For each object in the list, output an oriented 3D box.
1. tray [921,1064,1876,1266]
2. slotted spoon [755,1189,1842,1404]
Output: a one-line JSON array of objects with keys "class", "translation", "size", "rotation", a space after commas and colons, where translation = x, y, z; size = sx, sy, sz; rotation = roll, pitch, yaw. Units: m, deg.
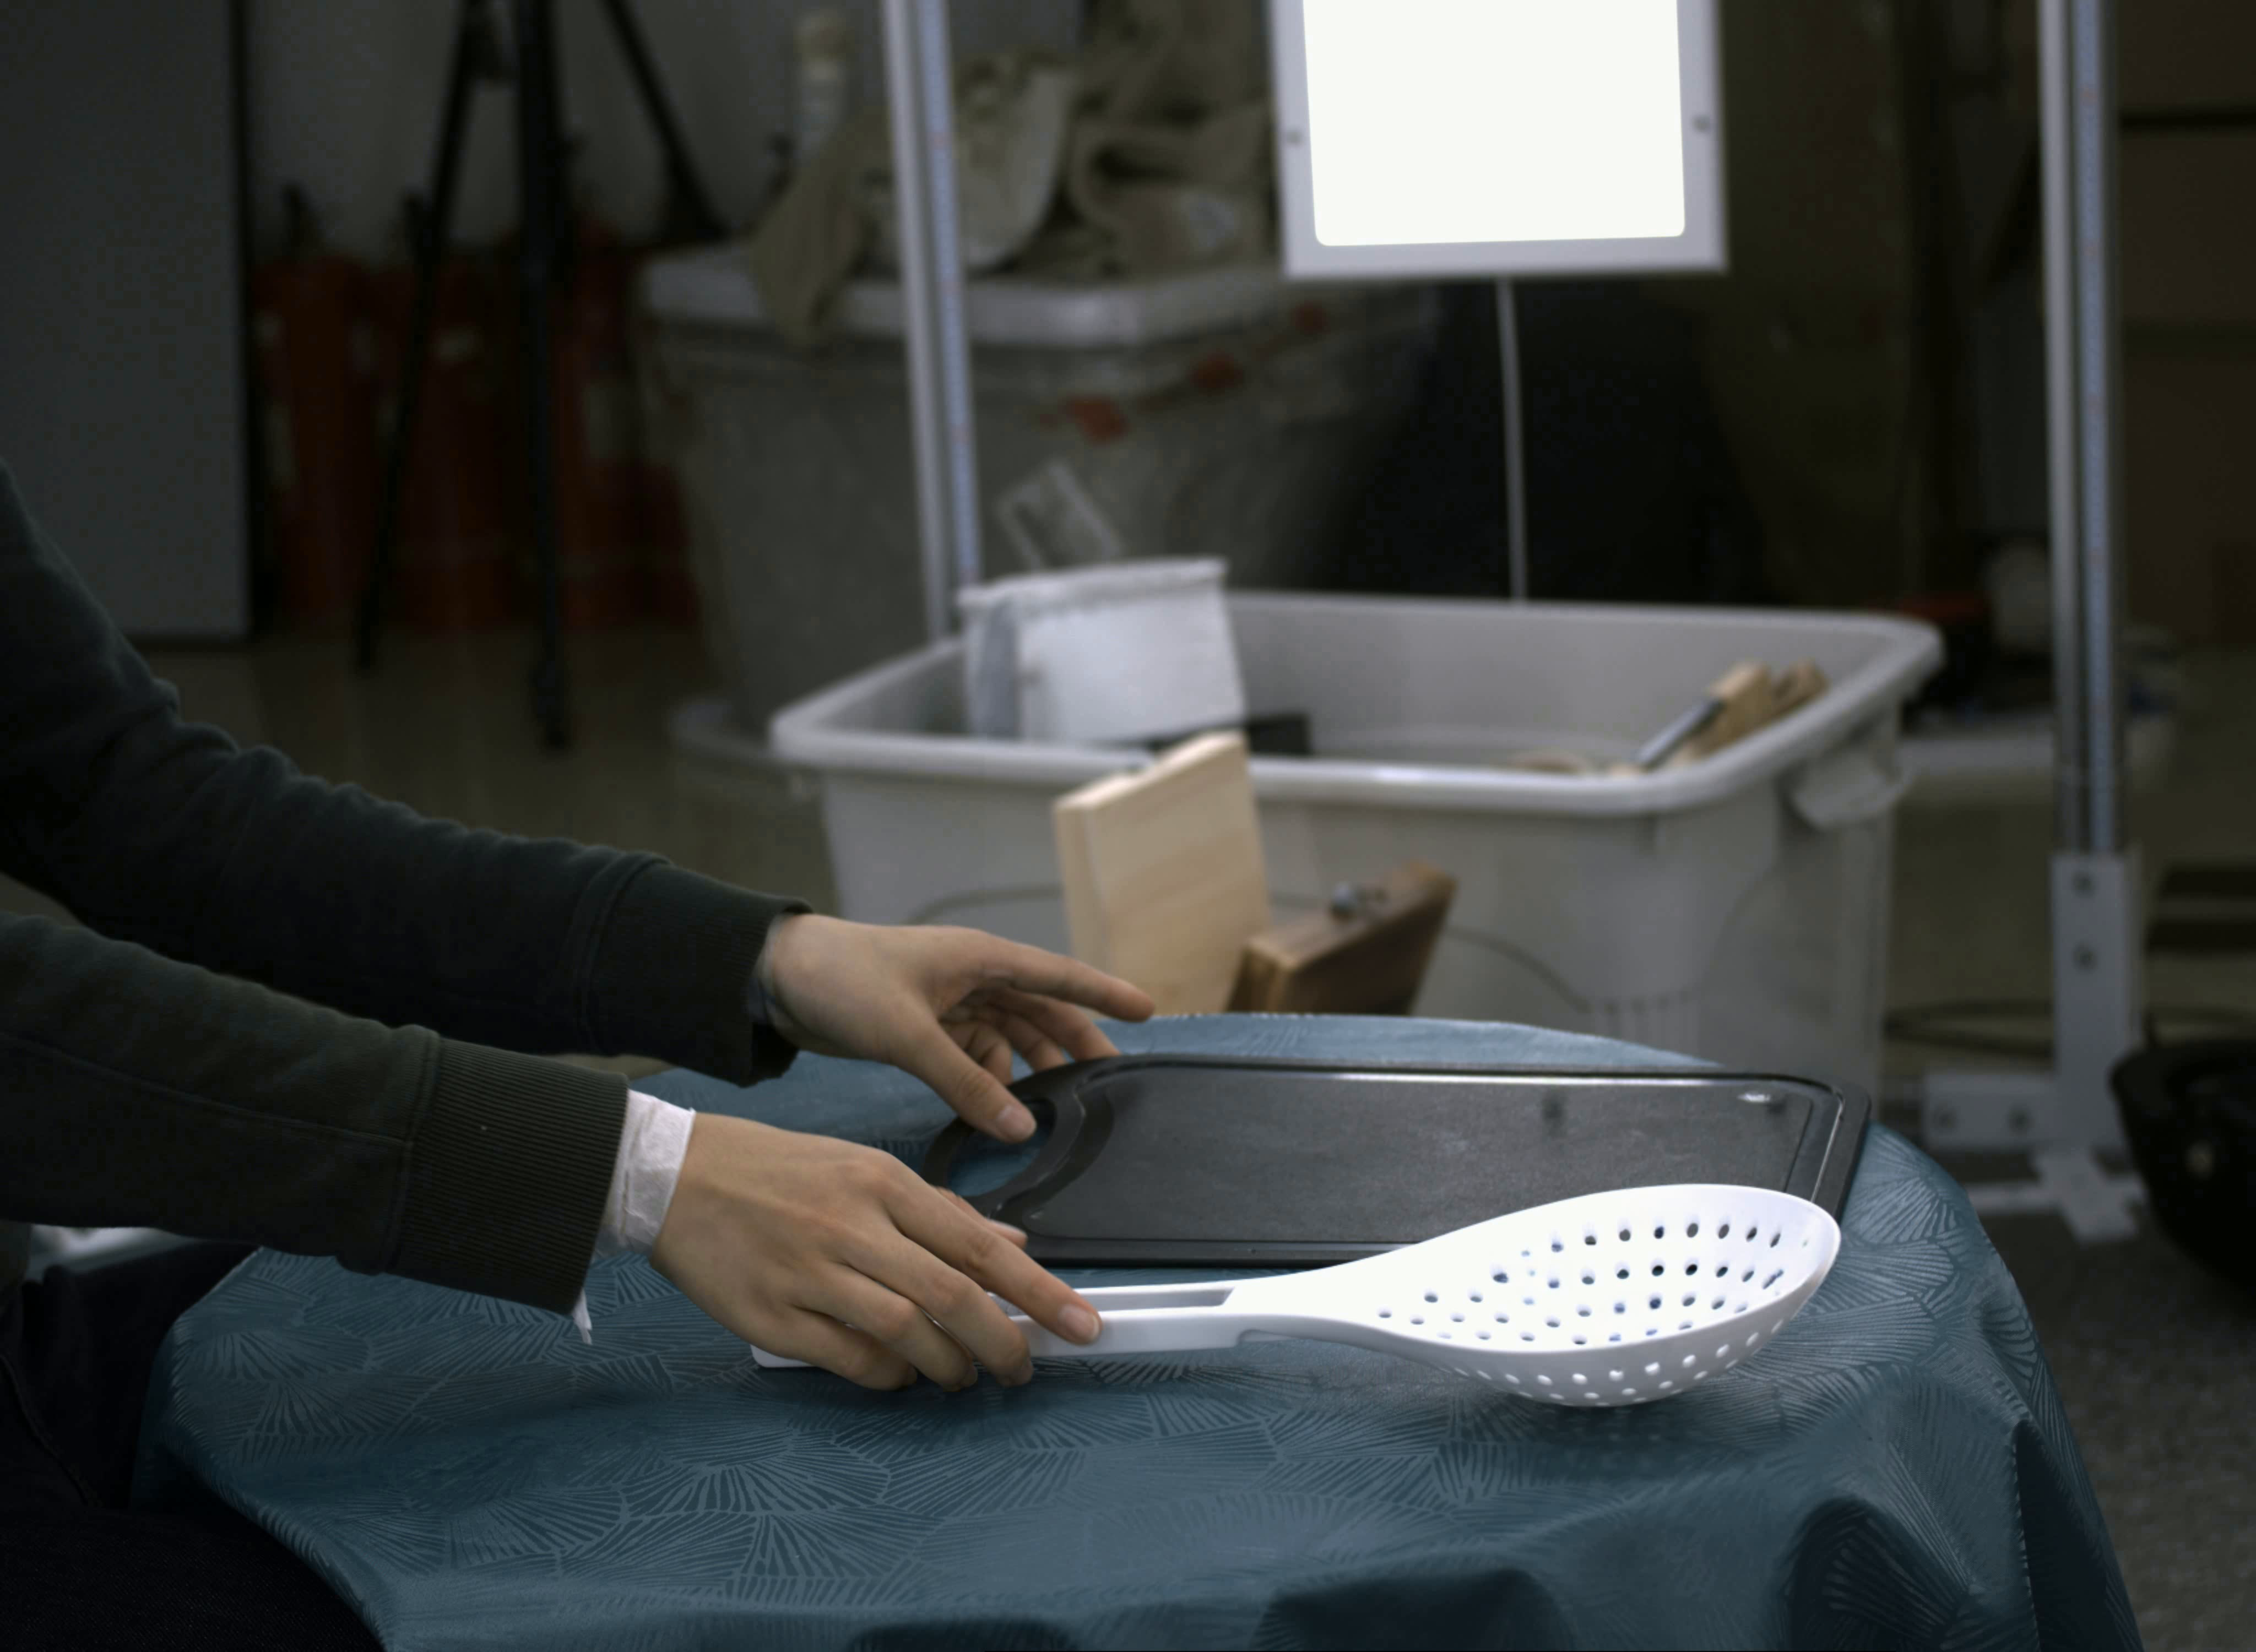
[{"class": "tray", "translation": [0.090, 0.113, 1.894], "size": [0.328, 0.010, 0.208], "rotation": [-1, 15, 15]}, {"class": "slotted spoon", "translation": [0.048, 0.148, 1.695], "size": [0.354, 0.046, 0.134], "rotation": [-1, 15, 20]}]
